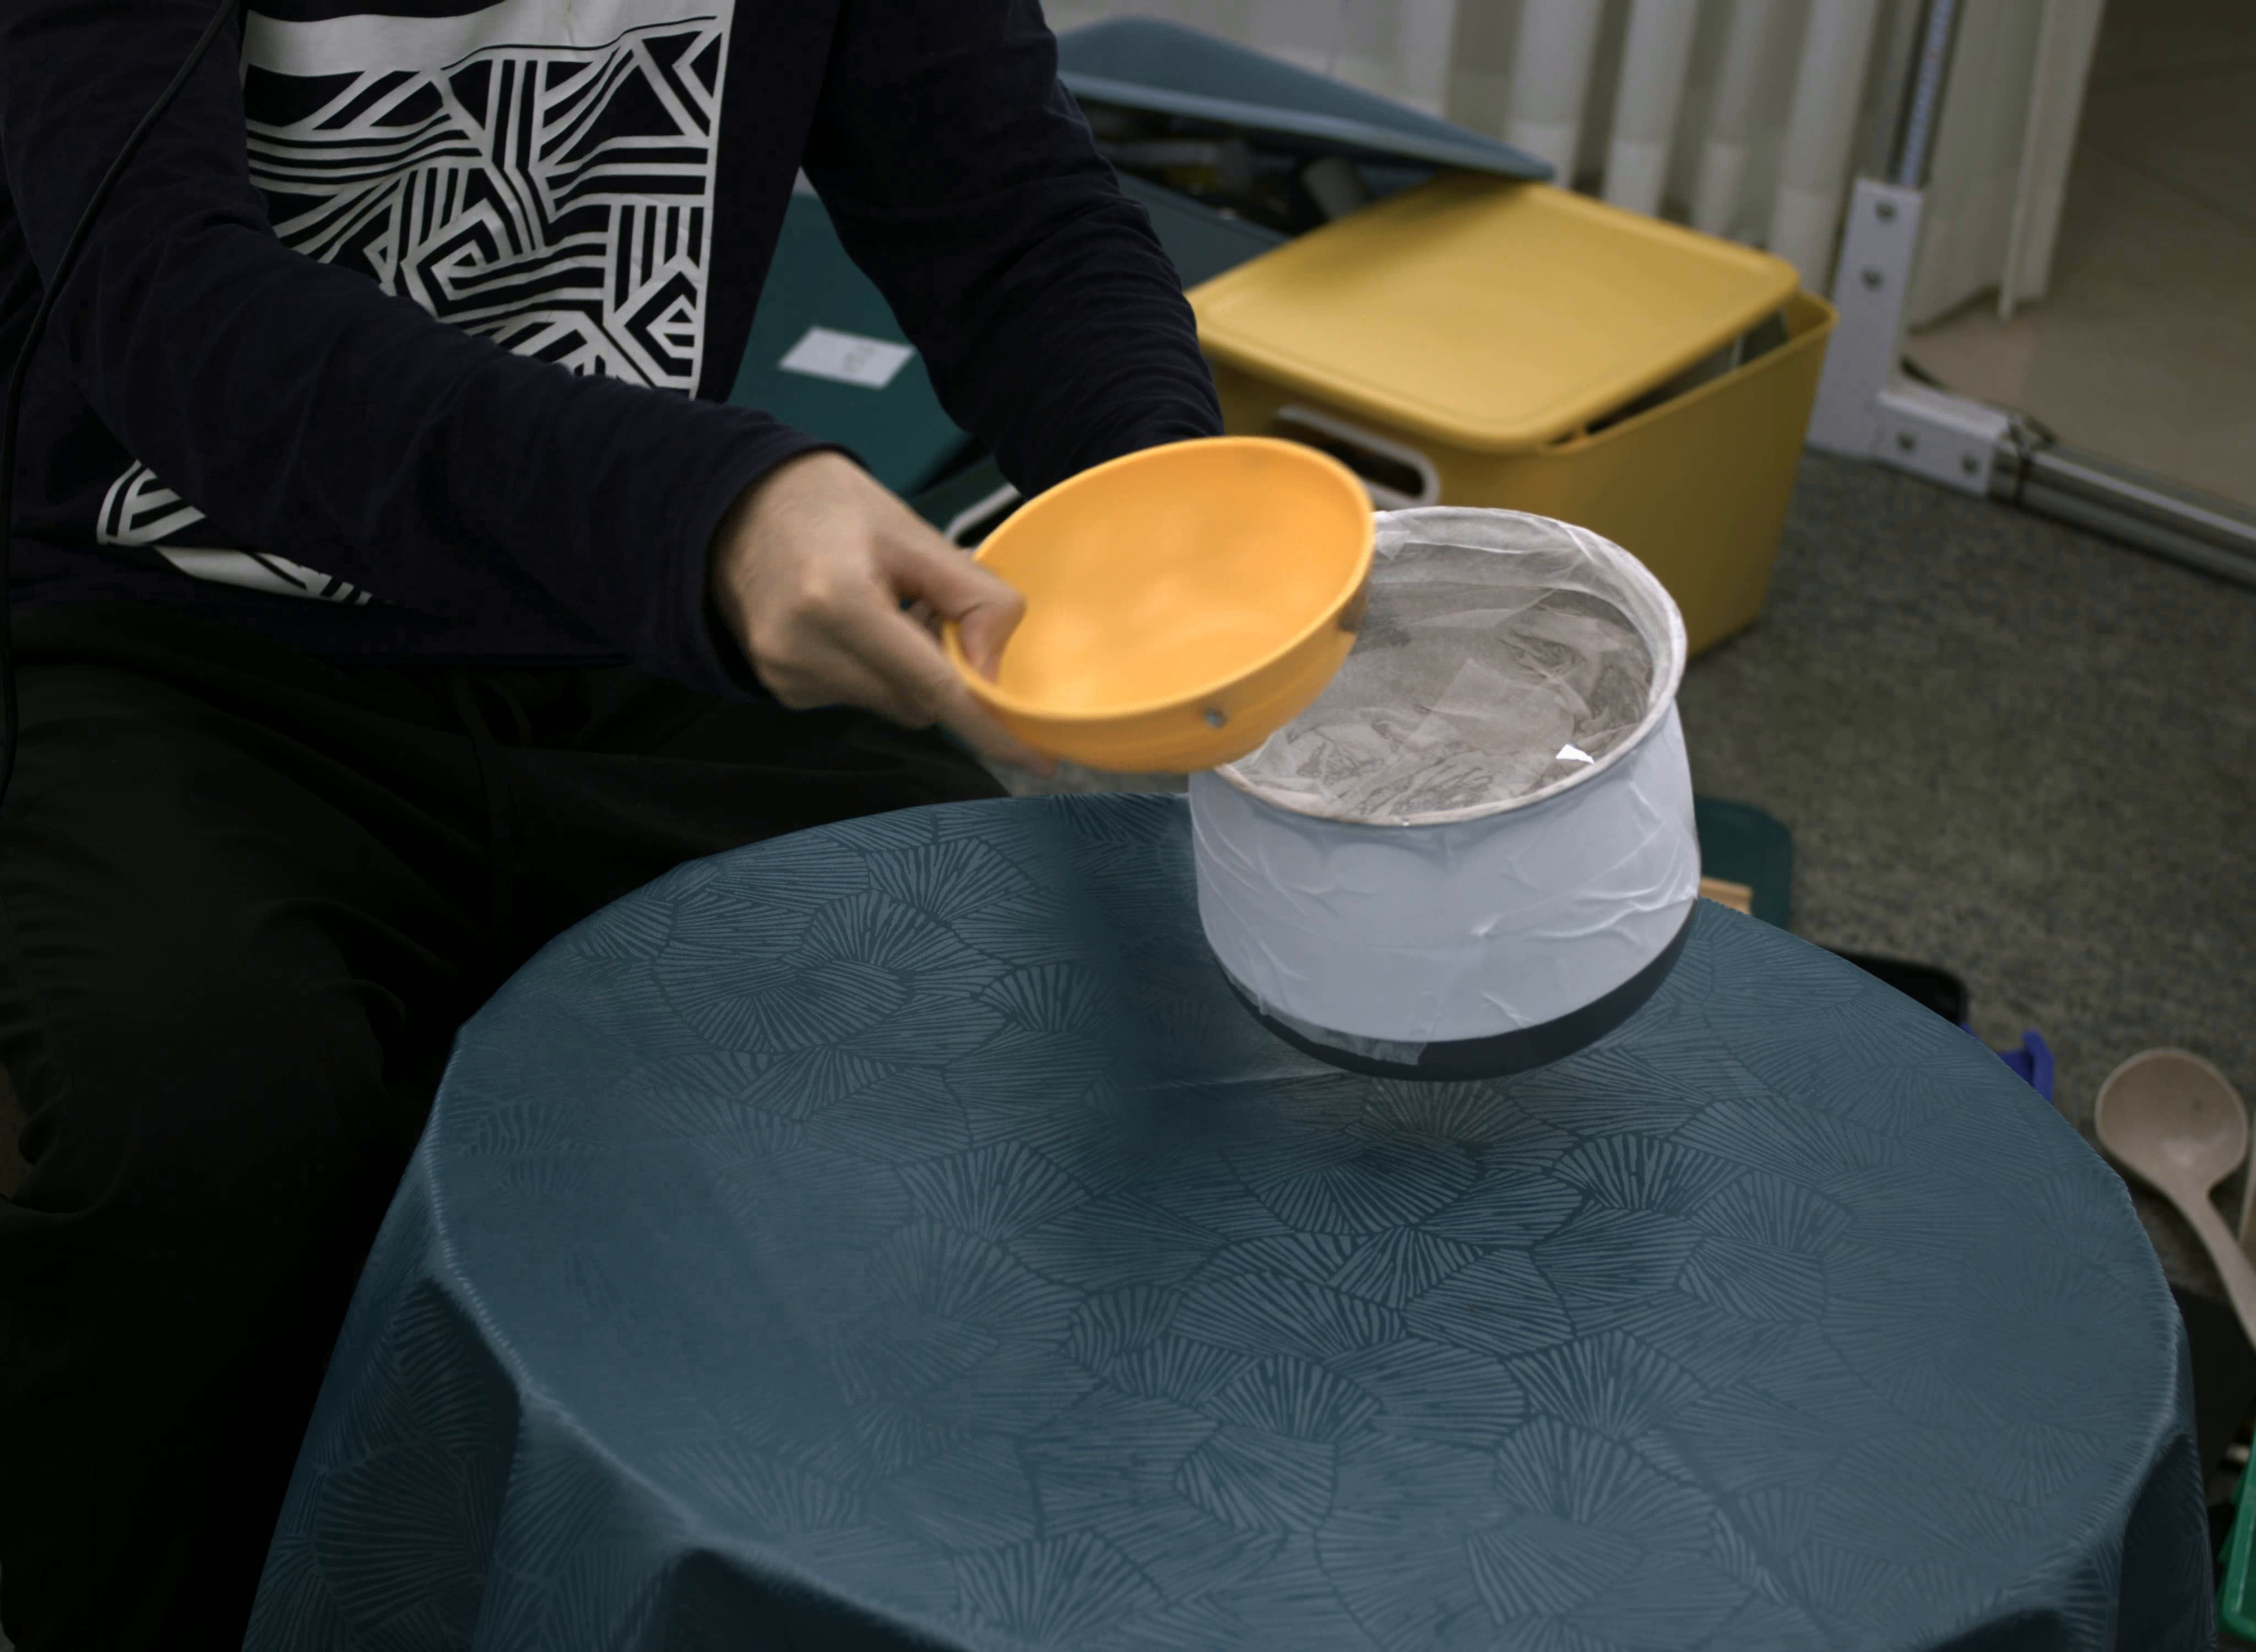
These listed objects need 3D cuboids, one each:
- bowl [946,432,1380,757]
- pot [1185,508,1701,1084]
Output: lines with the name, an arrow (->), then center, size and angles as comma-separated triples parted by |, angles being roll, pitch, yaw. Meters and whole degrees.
bowl -> 0.017, -0.064, 1.731 | 0.145, 0.060, 0.146 | -12, 35, 8
pot -> 0.096, -0.021, 1.870 | 0.178, 0.136, 0.236 | -22, 38, -14
